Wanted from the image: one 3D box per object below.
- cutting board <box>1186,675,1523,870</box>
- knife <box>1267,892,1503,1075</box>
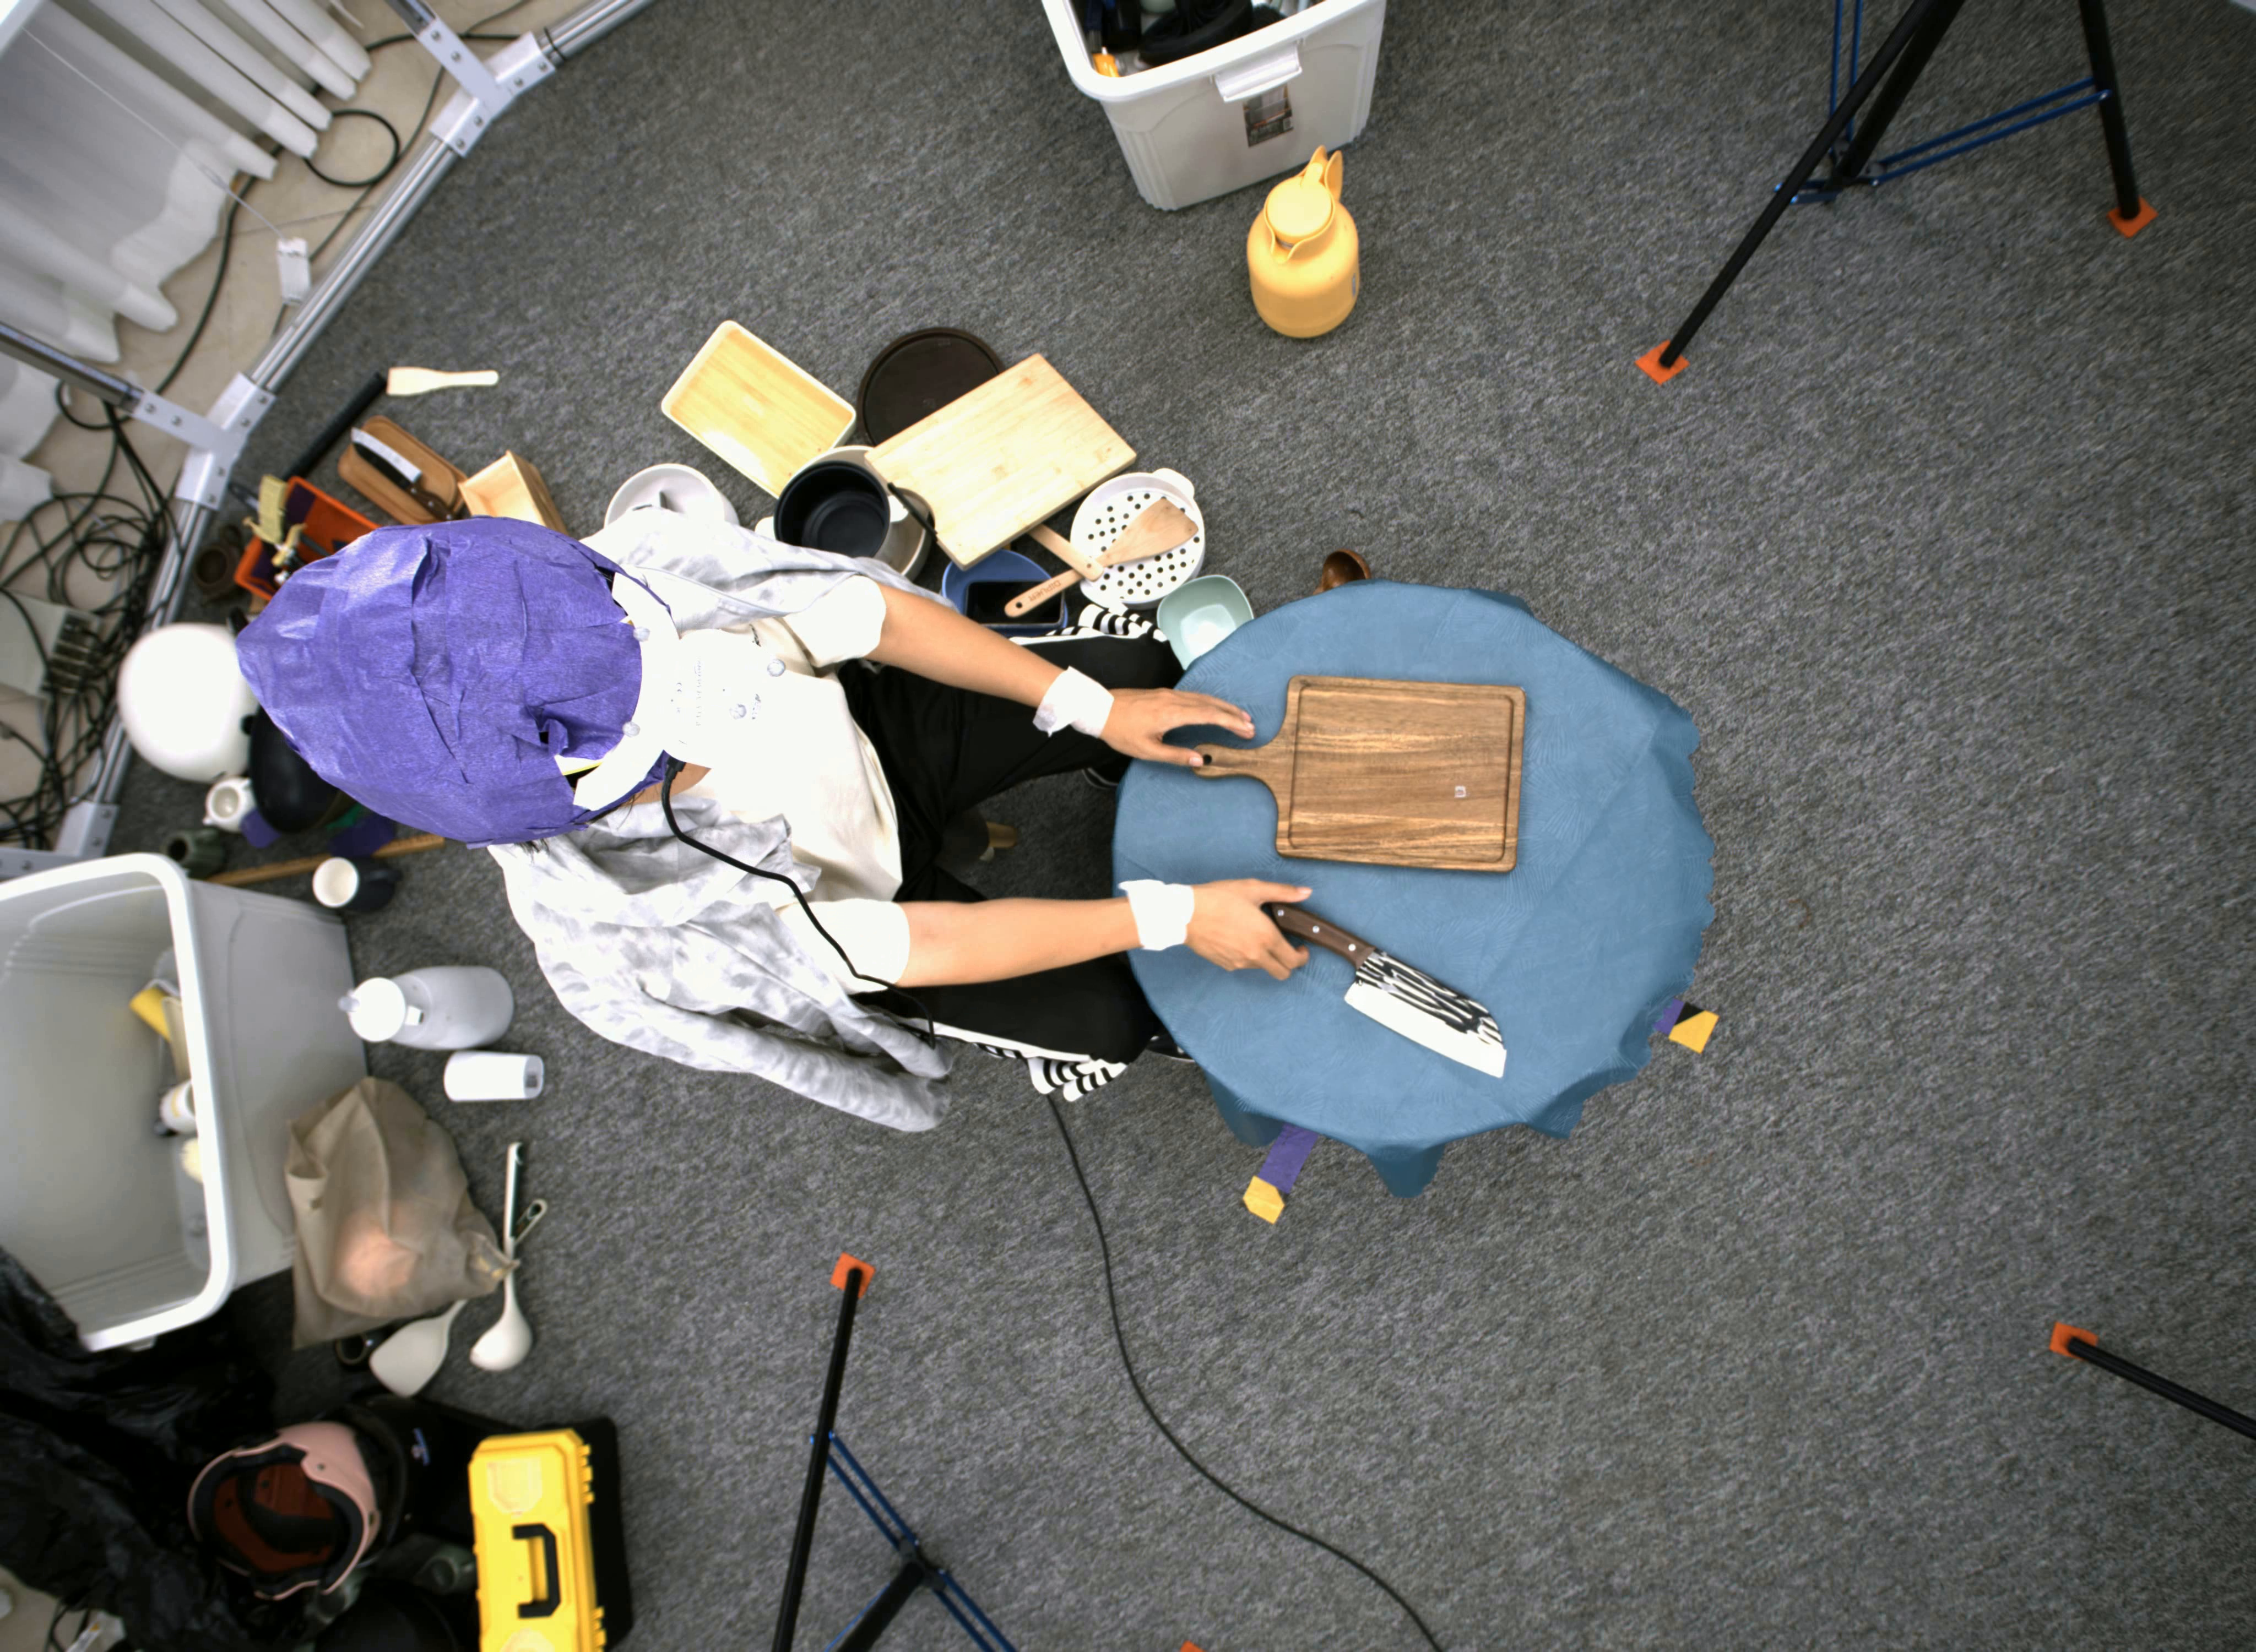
[{"bbox_3d":[0.237,-0.062,1.461,0.353,0.023,0.200,3,87,11],"label":"cutting board"},{"bbox_3d":[0.265,0.163,1.444,0.299,0.024,0.068,29,95,8],"label":"knife"}]
